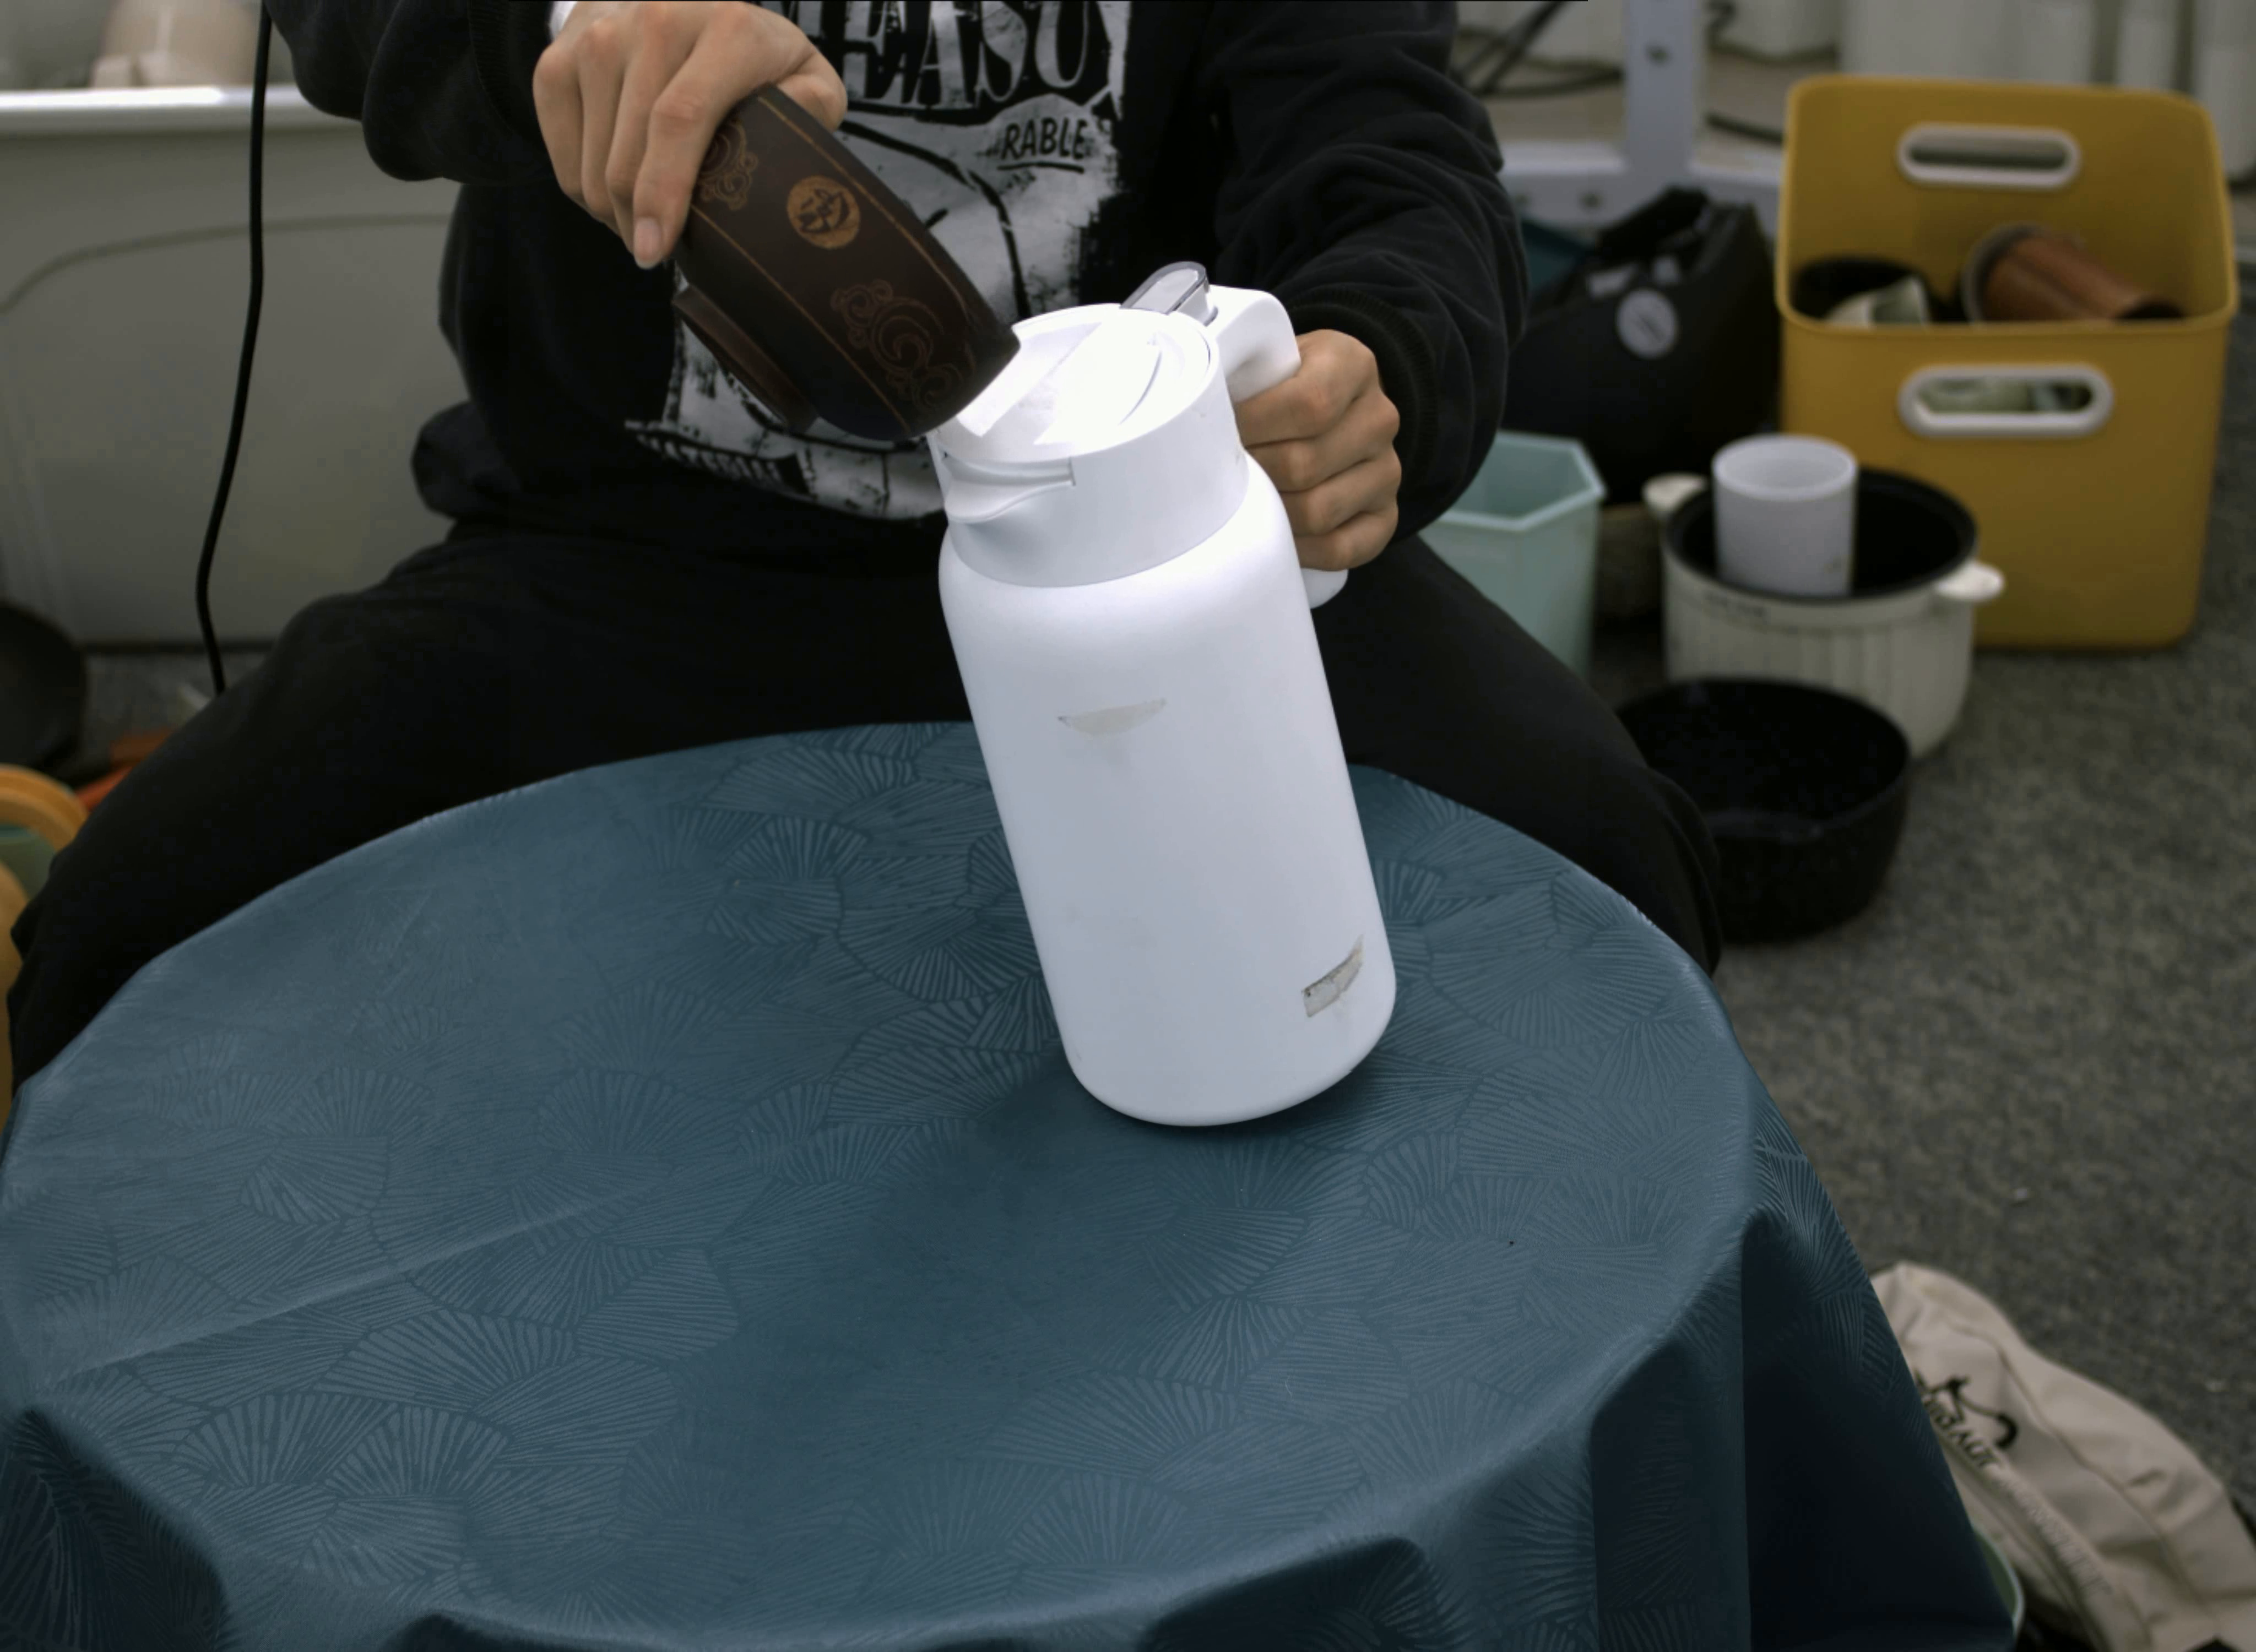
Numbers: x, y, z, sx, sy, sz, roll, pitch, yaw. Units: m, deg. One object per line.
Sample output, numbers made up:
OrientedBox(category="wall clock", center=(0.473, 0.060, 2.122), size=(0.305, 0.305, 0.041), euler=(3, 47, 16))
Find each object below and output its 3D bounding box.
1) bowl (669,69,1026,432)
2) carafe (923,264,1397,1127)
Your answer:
OrientedBox(category="bowl", center=(-0.095, -0.168, 1.742), size=(0.070, 0.117, 0.118), euler=(-45, 38, -5))
OrientedBox(category="carafe", center=(0.017, -0.046, 1.876), size=(0.123, 0.266, 0.176), euler=(6, 37, 33))
